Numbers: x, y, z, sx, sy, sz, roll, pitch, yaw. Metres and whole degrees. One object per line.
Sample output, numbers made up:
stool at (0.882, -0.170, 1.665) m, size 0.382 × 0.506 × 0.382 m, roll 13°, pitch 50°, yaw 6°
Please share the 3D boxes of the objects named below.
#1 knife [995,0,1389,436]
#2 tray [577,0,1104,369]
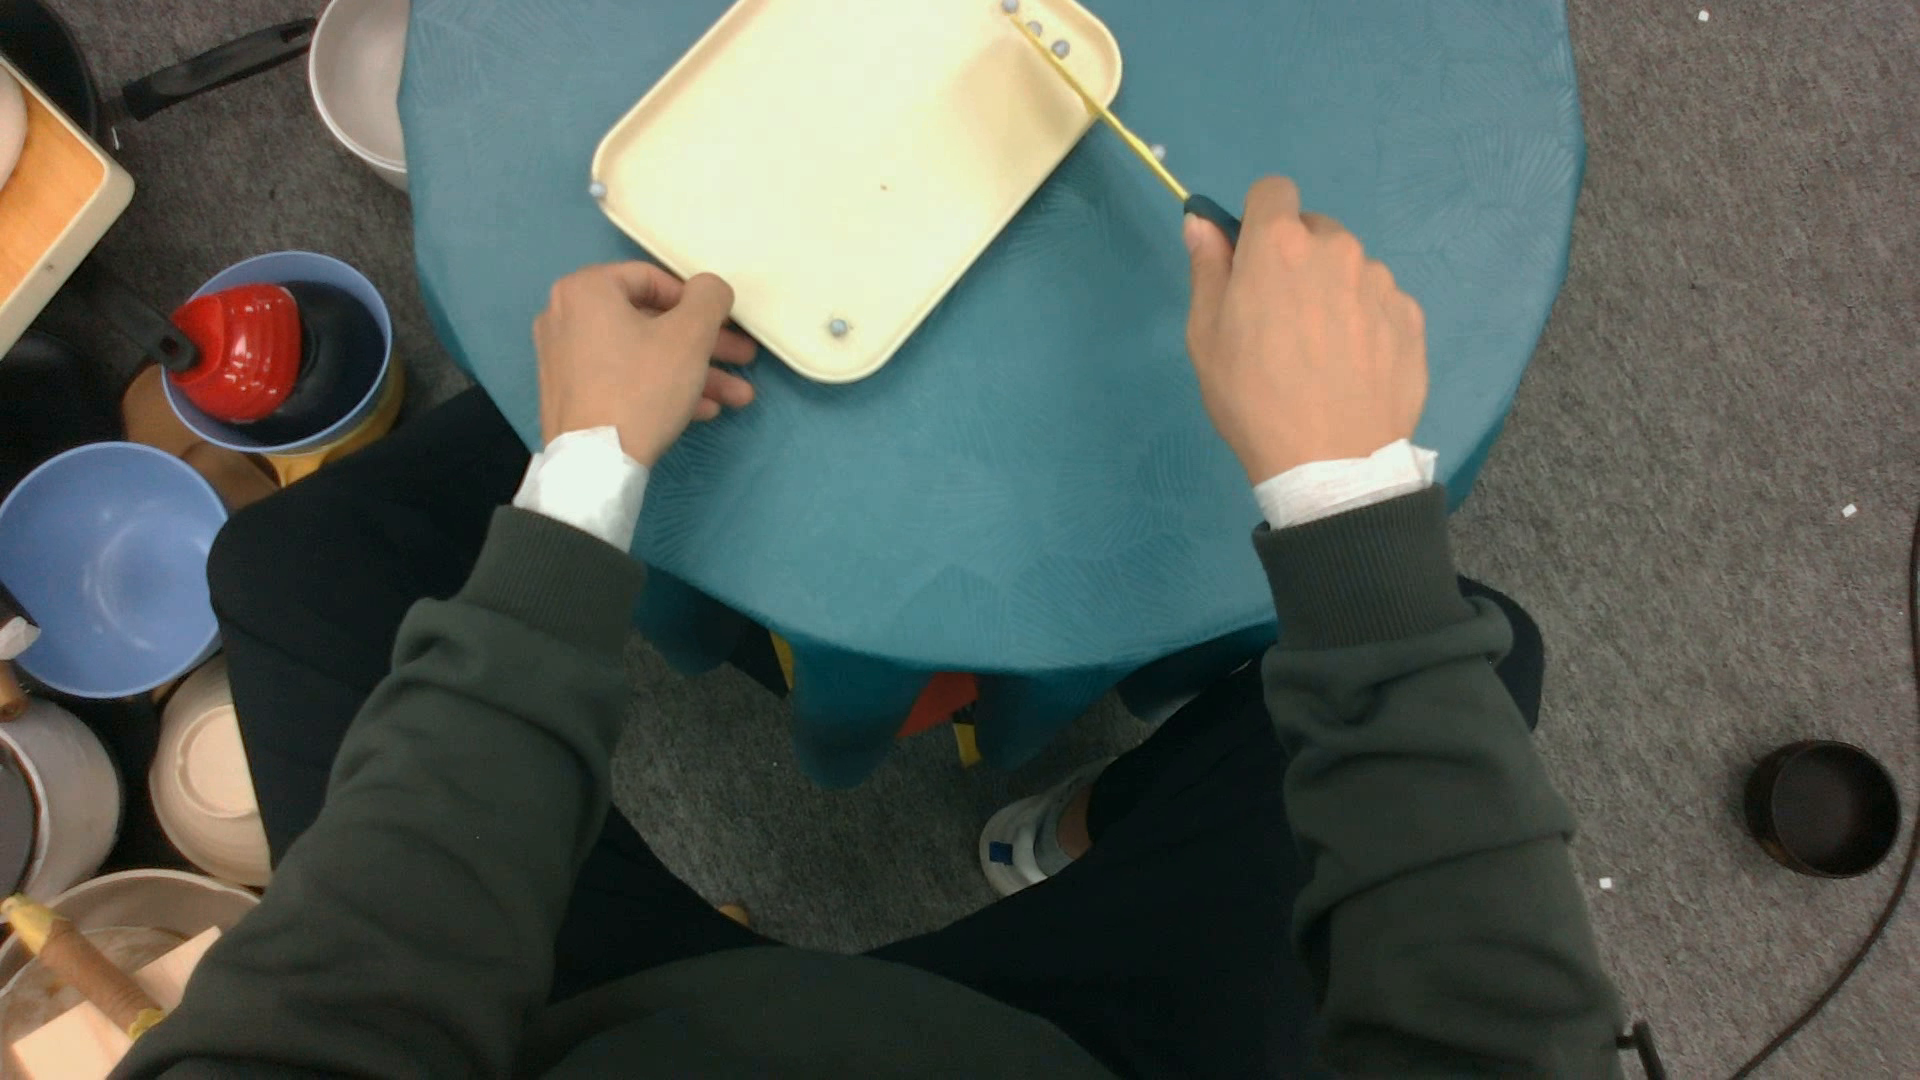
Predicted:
knife at (0.096, -0.156, 0.623) m, size 0.027 × 0.081 × 0.290 m, roll -42°, pitch 68°, yaw 17°
tray at (-0.054, -0.211, 0.676) m, size 0.171 × 0.017 × 0.240 m, roll 40°, pitch 78°, yaw -1°
